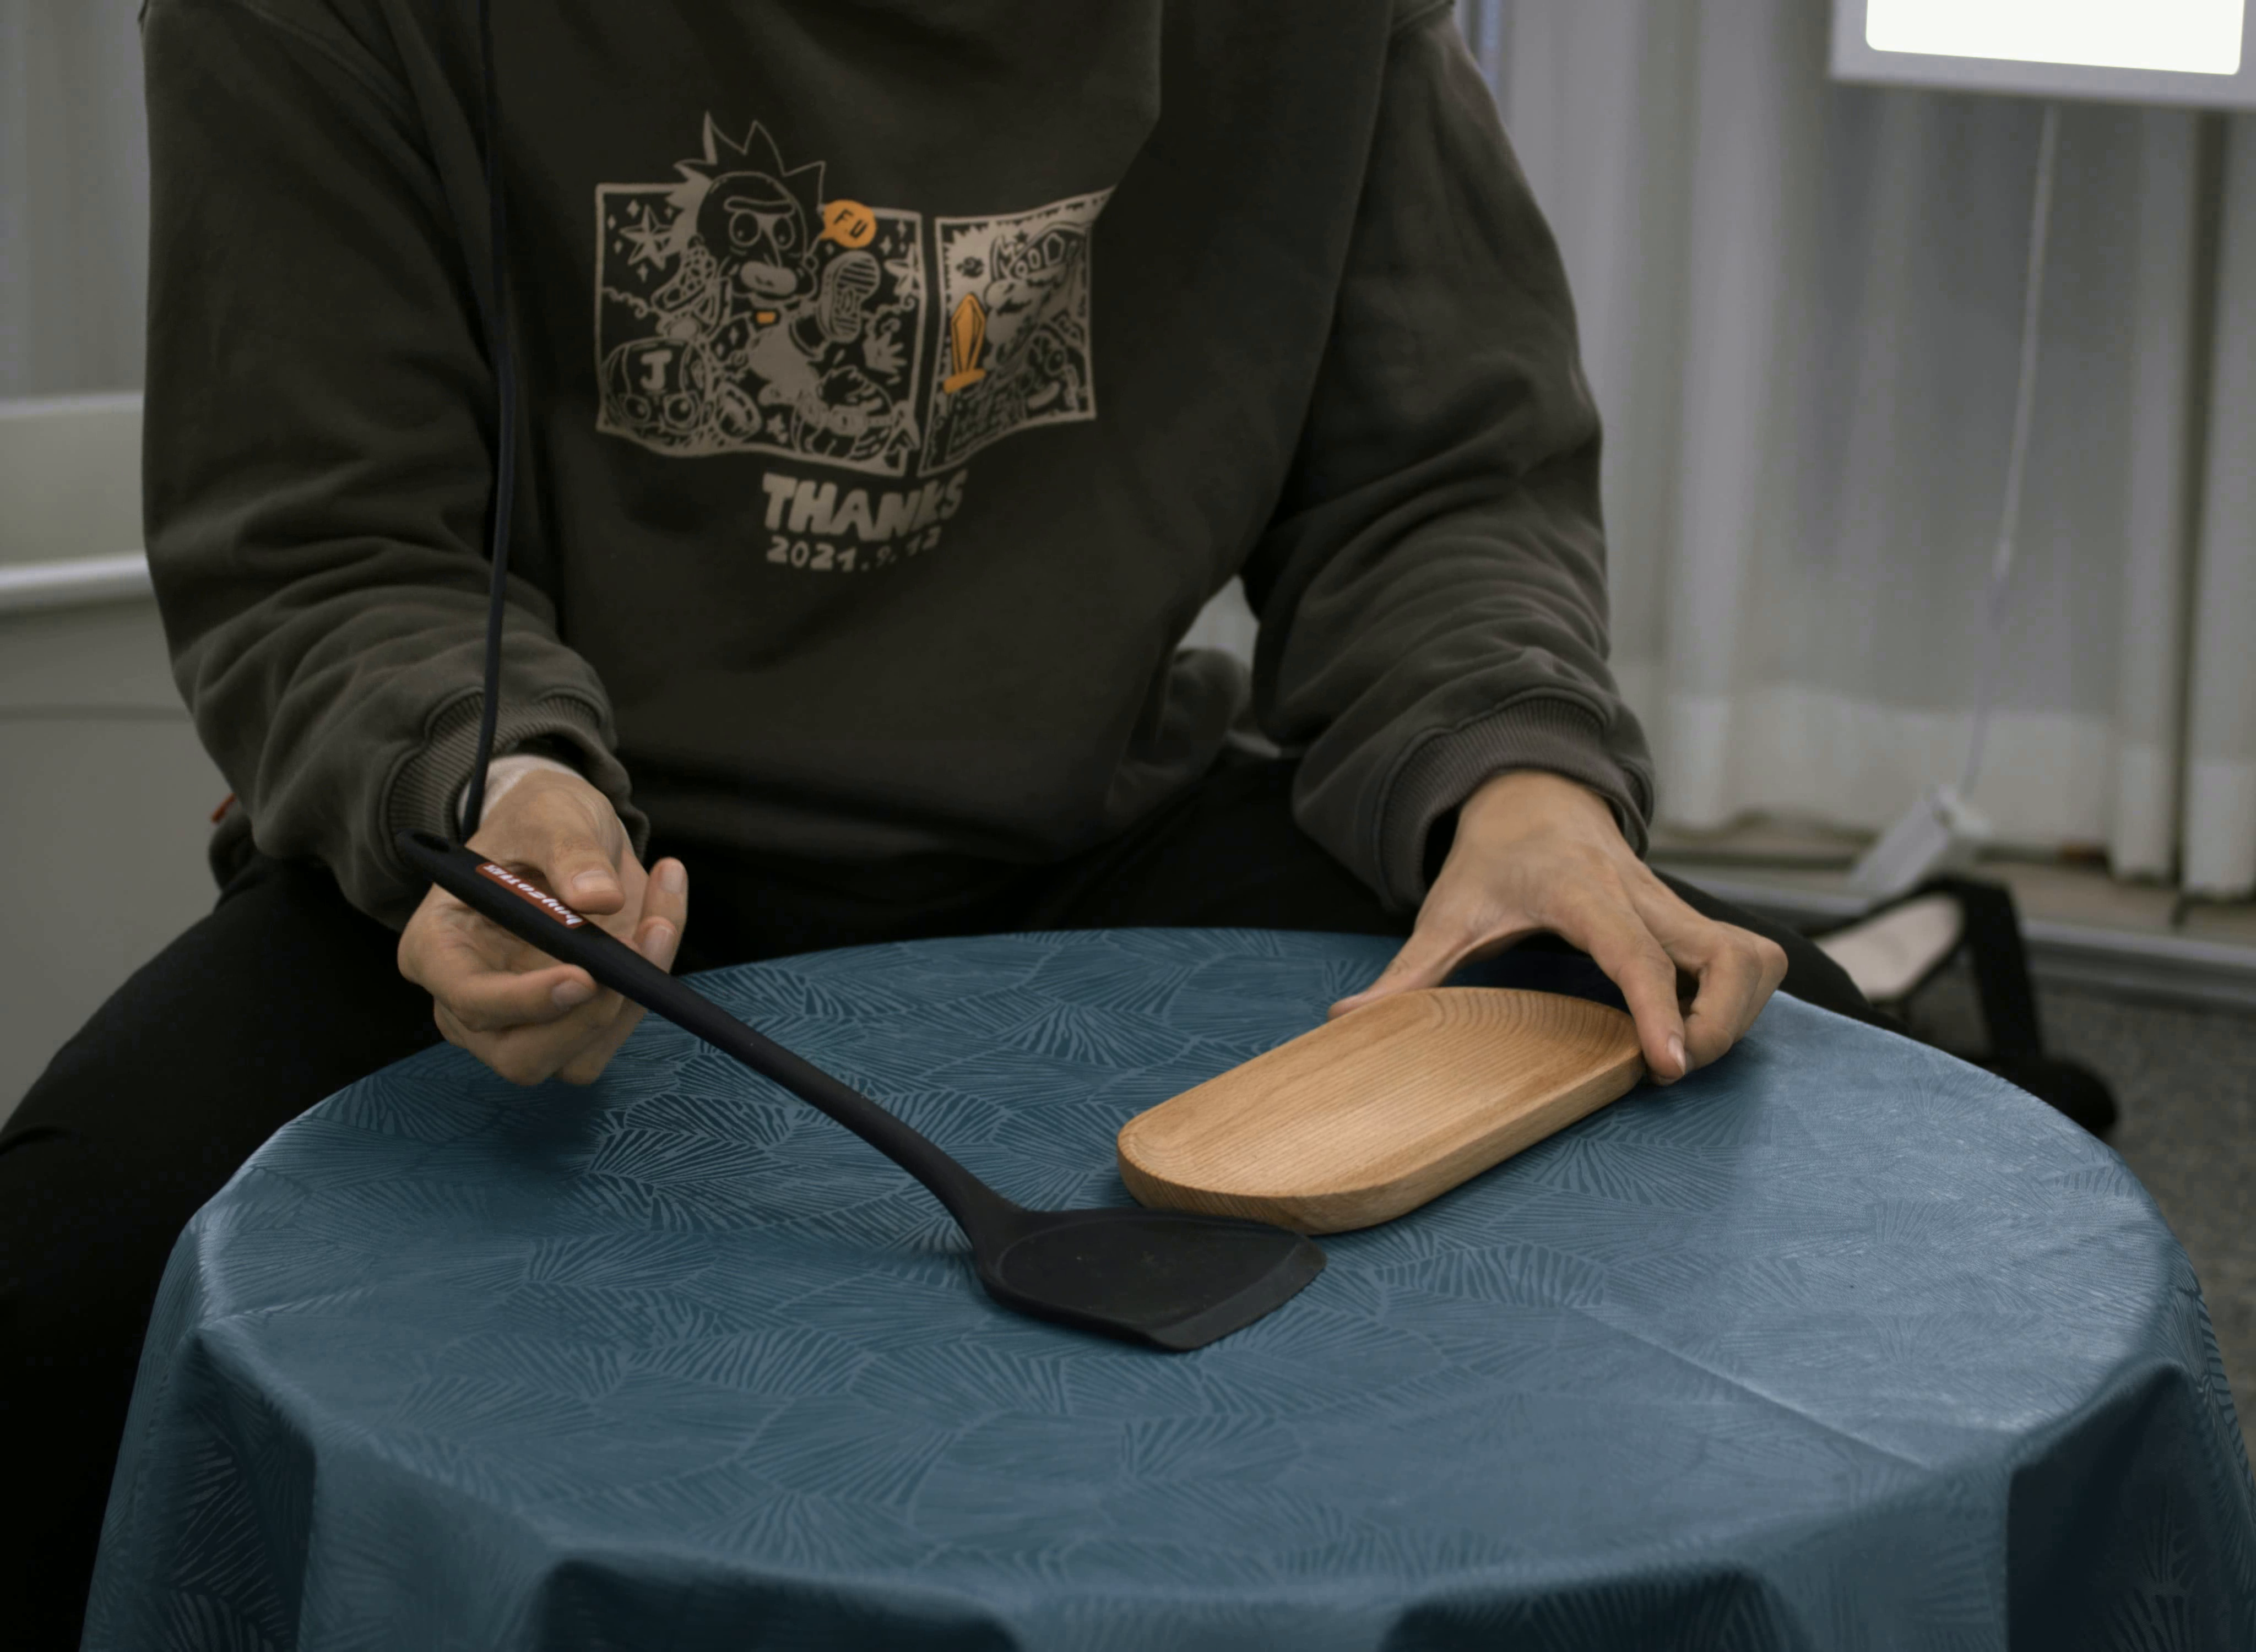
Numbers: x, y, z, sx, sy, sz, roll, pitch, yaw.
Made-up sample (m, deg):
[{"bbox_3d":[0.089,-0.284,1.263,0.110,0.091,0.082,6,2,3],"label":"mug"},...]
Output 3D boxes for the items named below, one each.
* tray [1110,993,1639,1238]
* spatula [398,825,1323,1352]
[{"bbox_3d":[0.081,0.091,1.682,0.100,0.020,0.232,10,19,32],"label":"tray"},{"bbox_3d":[-0.093,0.073,1.589,0.323,0.040,0.100,33,26,18],"label":"spatula"}]
